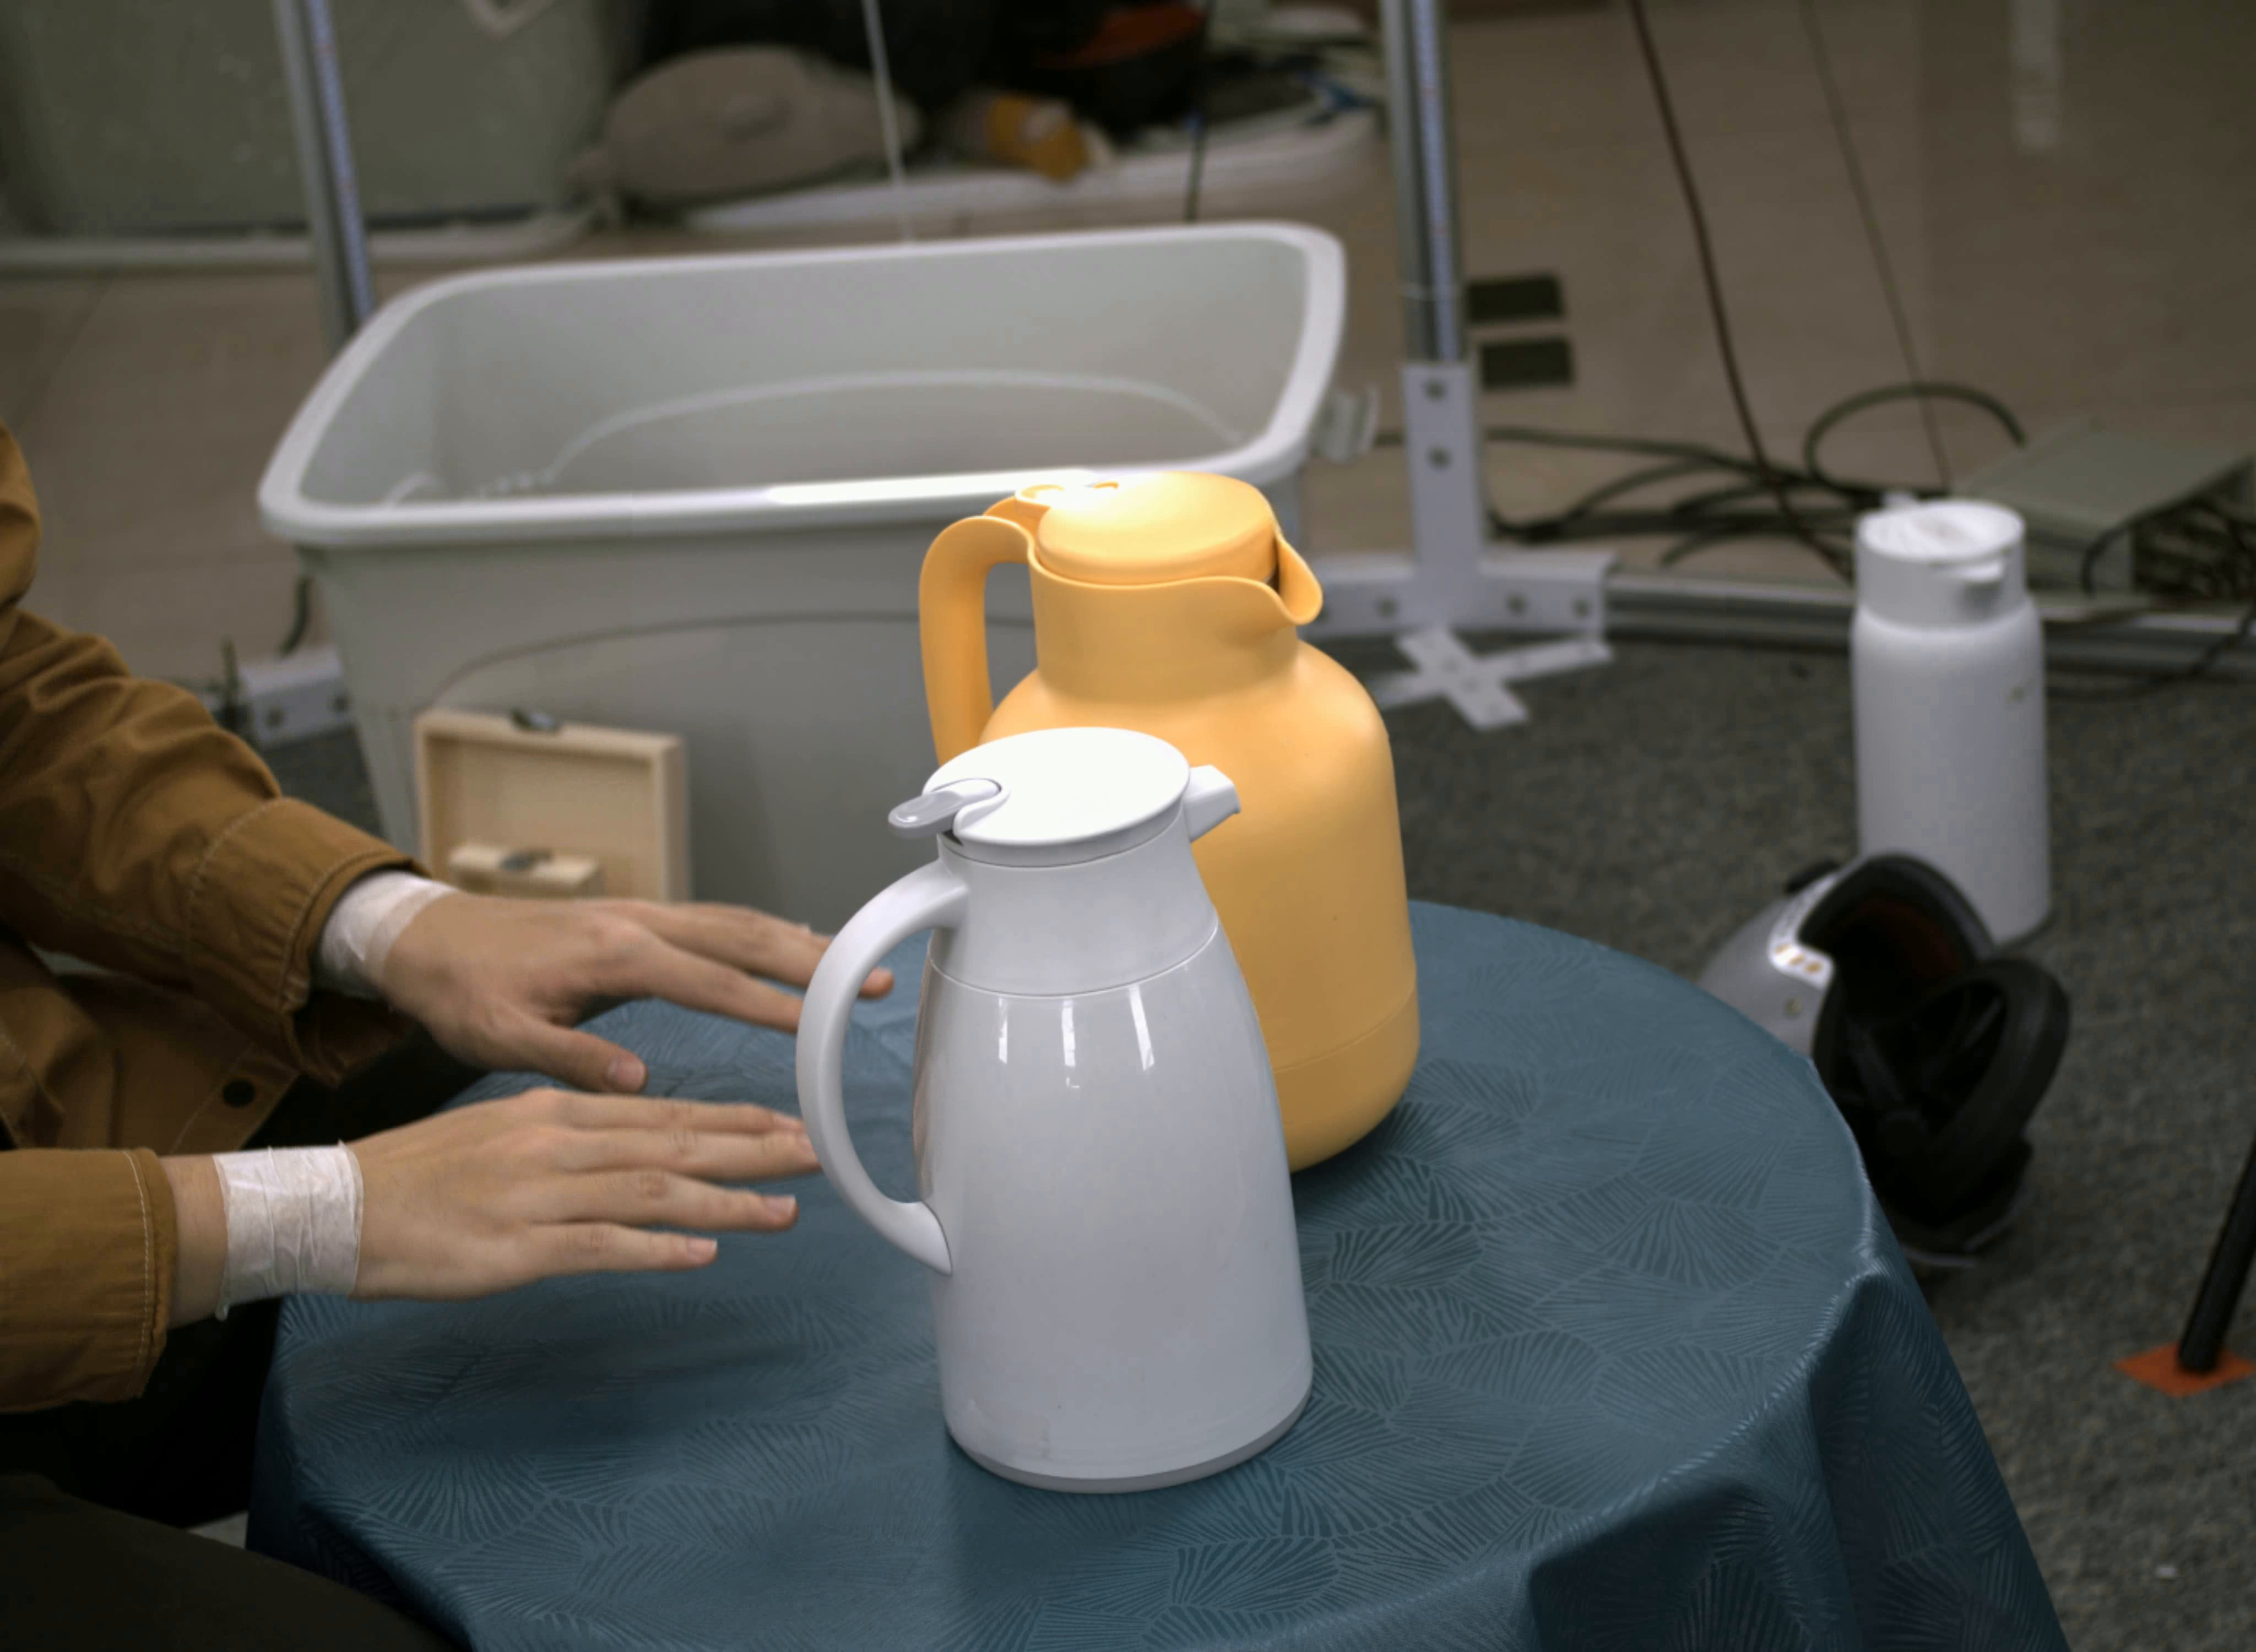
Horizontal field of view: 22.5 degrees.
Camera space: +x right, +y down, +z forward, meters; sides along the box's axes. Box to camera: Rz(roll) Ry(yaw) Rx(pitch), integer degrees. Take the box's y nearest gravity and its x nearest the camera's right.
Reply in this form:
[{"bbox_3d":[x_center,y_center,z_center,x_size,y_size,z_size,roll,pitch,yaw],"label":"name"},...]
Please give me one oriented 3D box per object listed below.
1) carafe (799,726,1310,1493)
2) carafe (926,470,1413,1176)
[{"bbox_3d":[-0.029,0.096,1.951,0.167,0.253,0.131,-17,28,-20],"label":"carafe"},{"bbox_3d":[0.009,-0.008,2.150,0.201,0.264,0.162,20,35,41],"label":"carafe"}]
